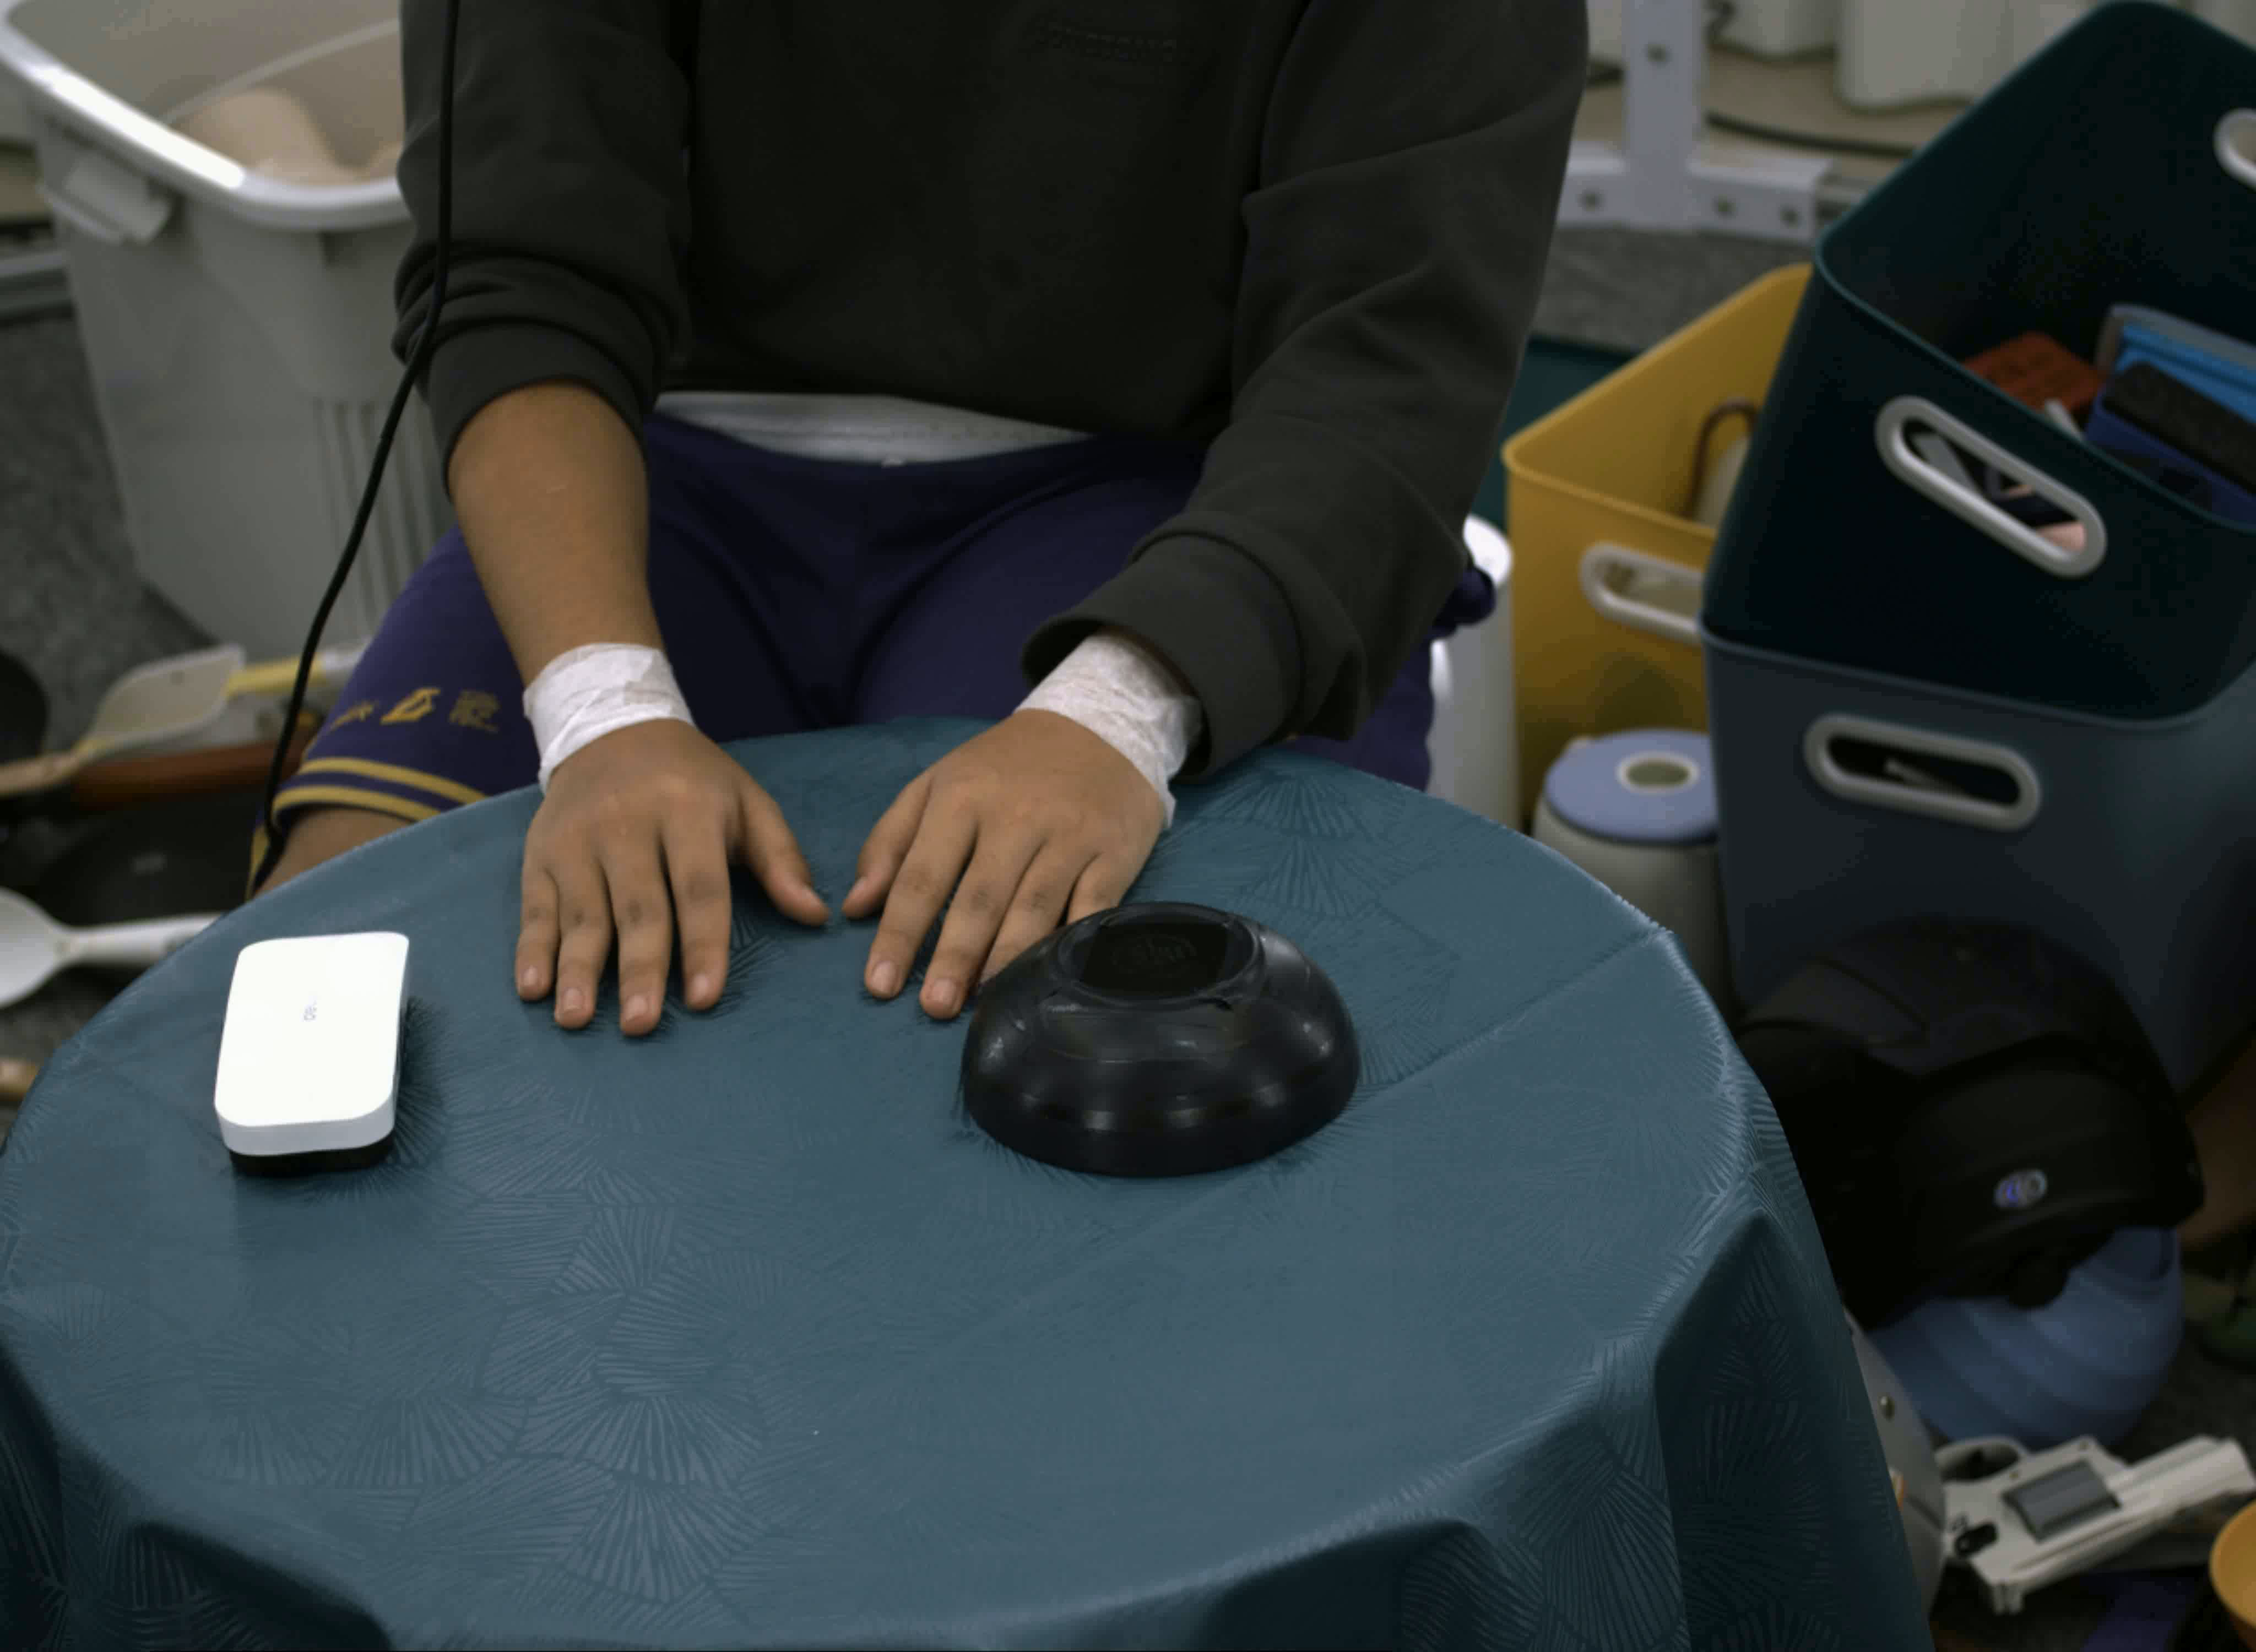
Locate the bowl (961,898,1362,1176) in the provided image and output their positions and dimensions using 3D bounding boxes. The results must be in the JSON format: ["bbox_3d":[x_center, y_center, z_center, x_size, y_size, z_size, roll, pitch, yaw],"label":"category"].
[{"bbox_3d":[0.010,0.063,1.920,0.139,0.049,0.142,-3,28,2],"label":"bowl"}]

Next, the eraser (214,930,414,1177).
[{"bbox_3d":[-0.279,0.075,1.944,0.063,0.034,0.133,-2,29,-1],"label":"eraser"}]
